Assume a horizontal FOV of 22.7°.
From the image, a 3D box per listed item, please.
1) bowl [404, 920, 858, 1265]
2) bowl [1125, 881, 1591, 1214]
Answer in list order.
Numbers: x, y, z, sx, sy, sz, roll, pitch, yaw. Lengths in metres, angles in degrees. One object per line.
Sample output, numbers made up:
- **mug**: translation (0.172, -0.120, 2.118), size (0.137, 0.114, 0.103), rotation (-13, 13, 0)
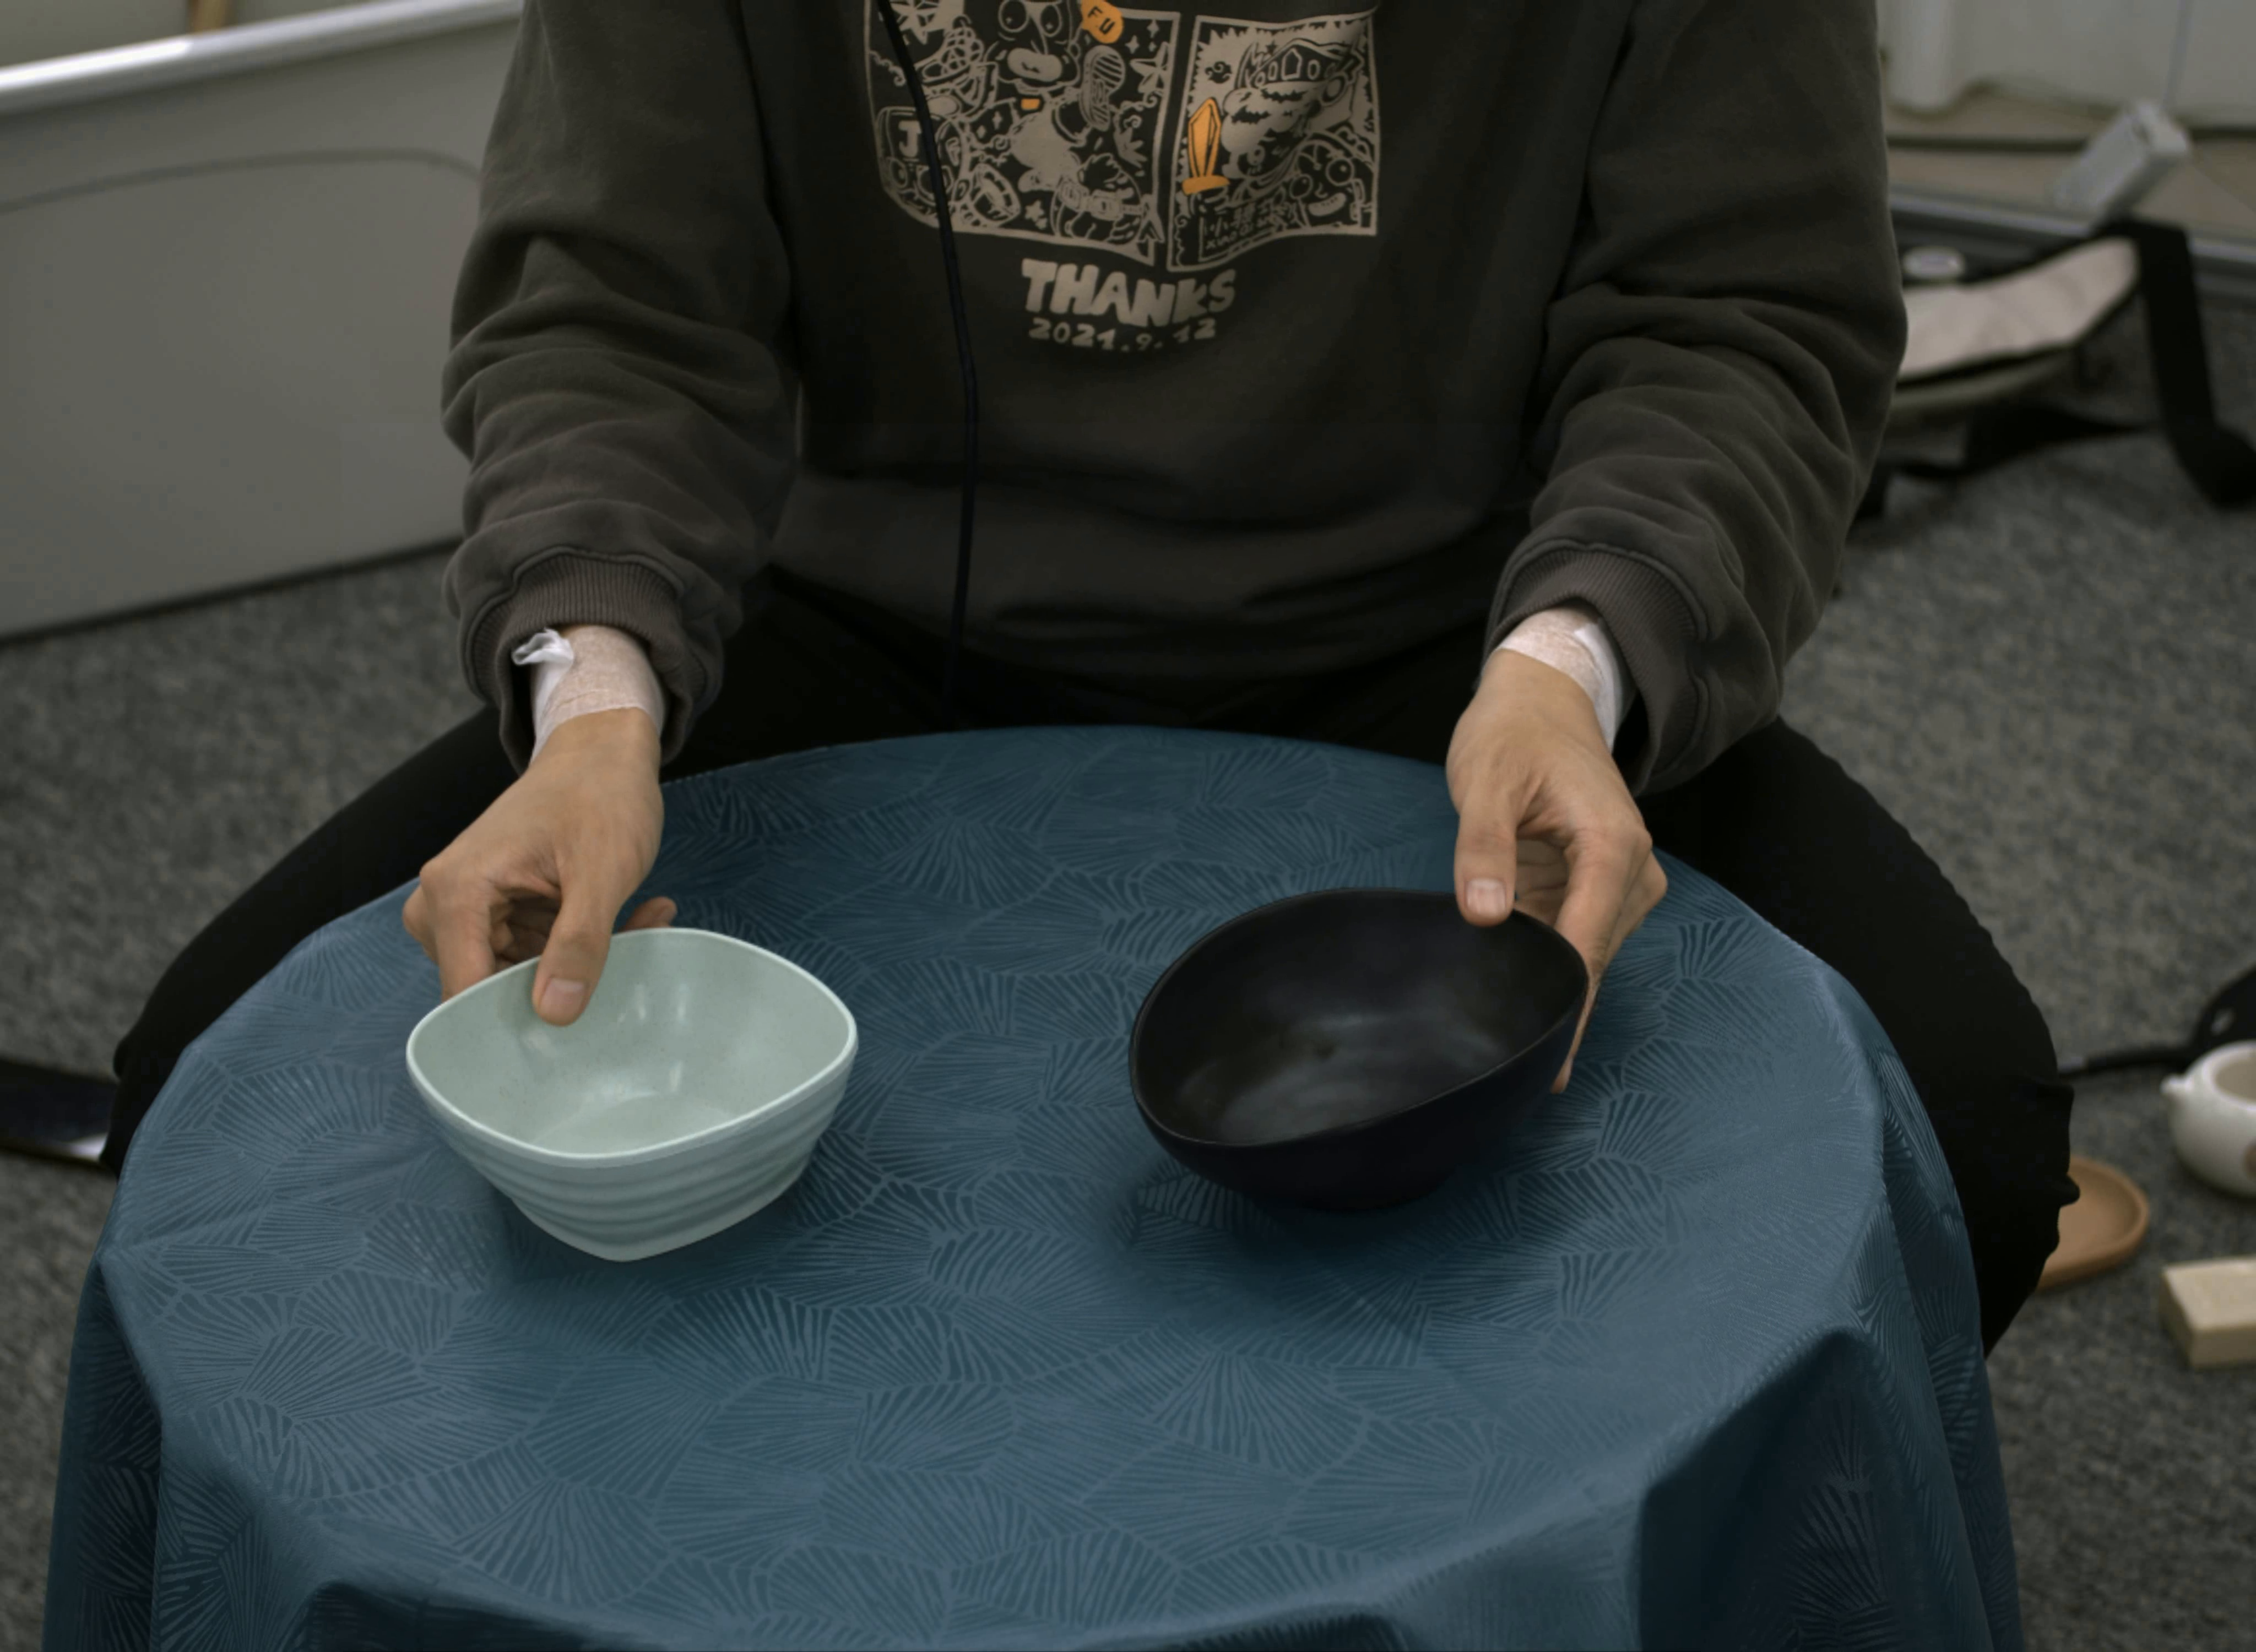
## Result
- **bowl**: translation (-0.163, 0.095, 1.867), size (0.151, 0.058, 0.154), rotation (-1, 29, 1)
- **bowl**: translation (0.077, 0.084, 1.857), size (0.137, 0.066, 0.172), rotation (22, 38, 39)
